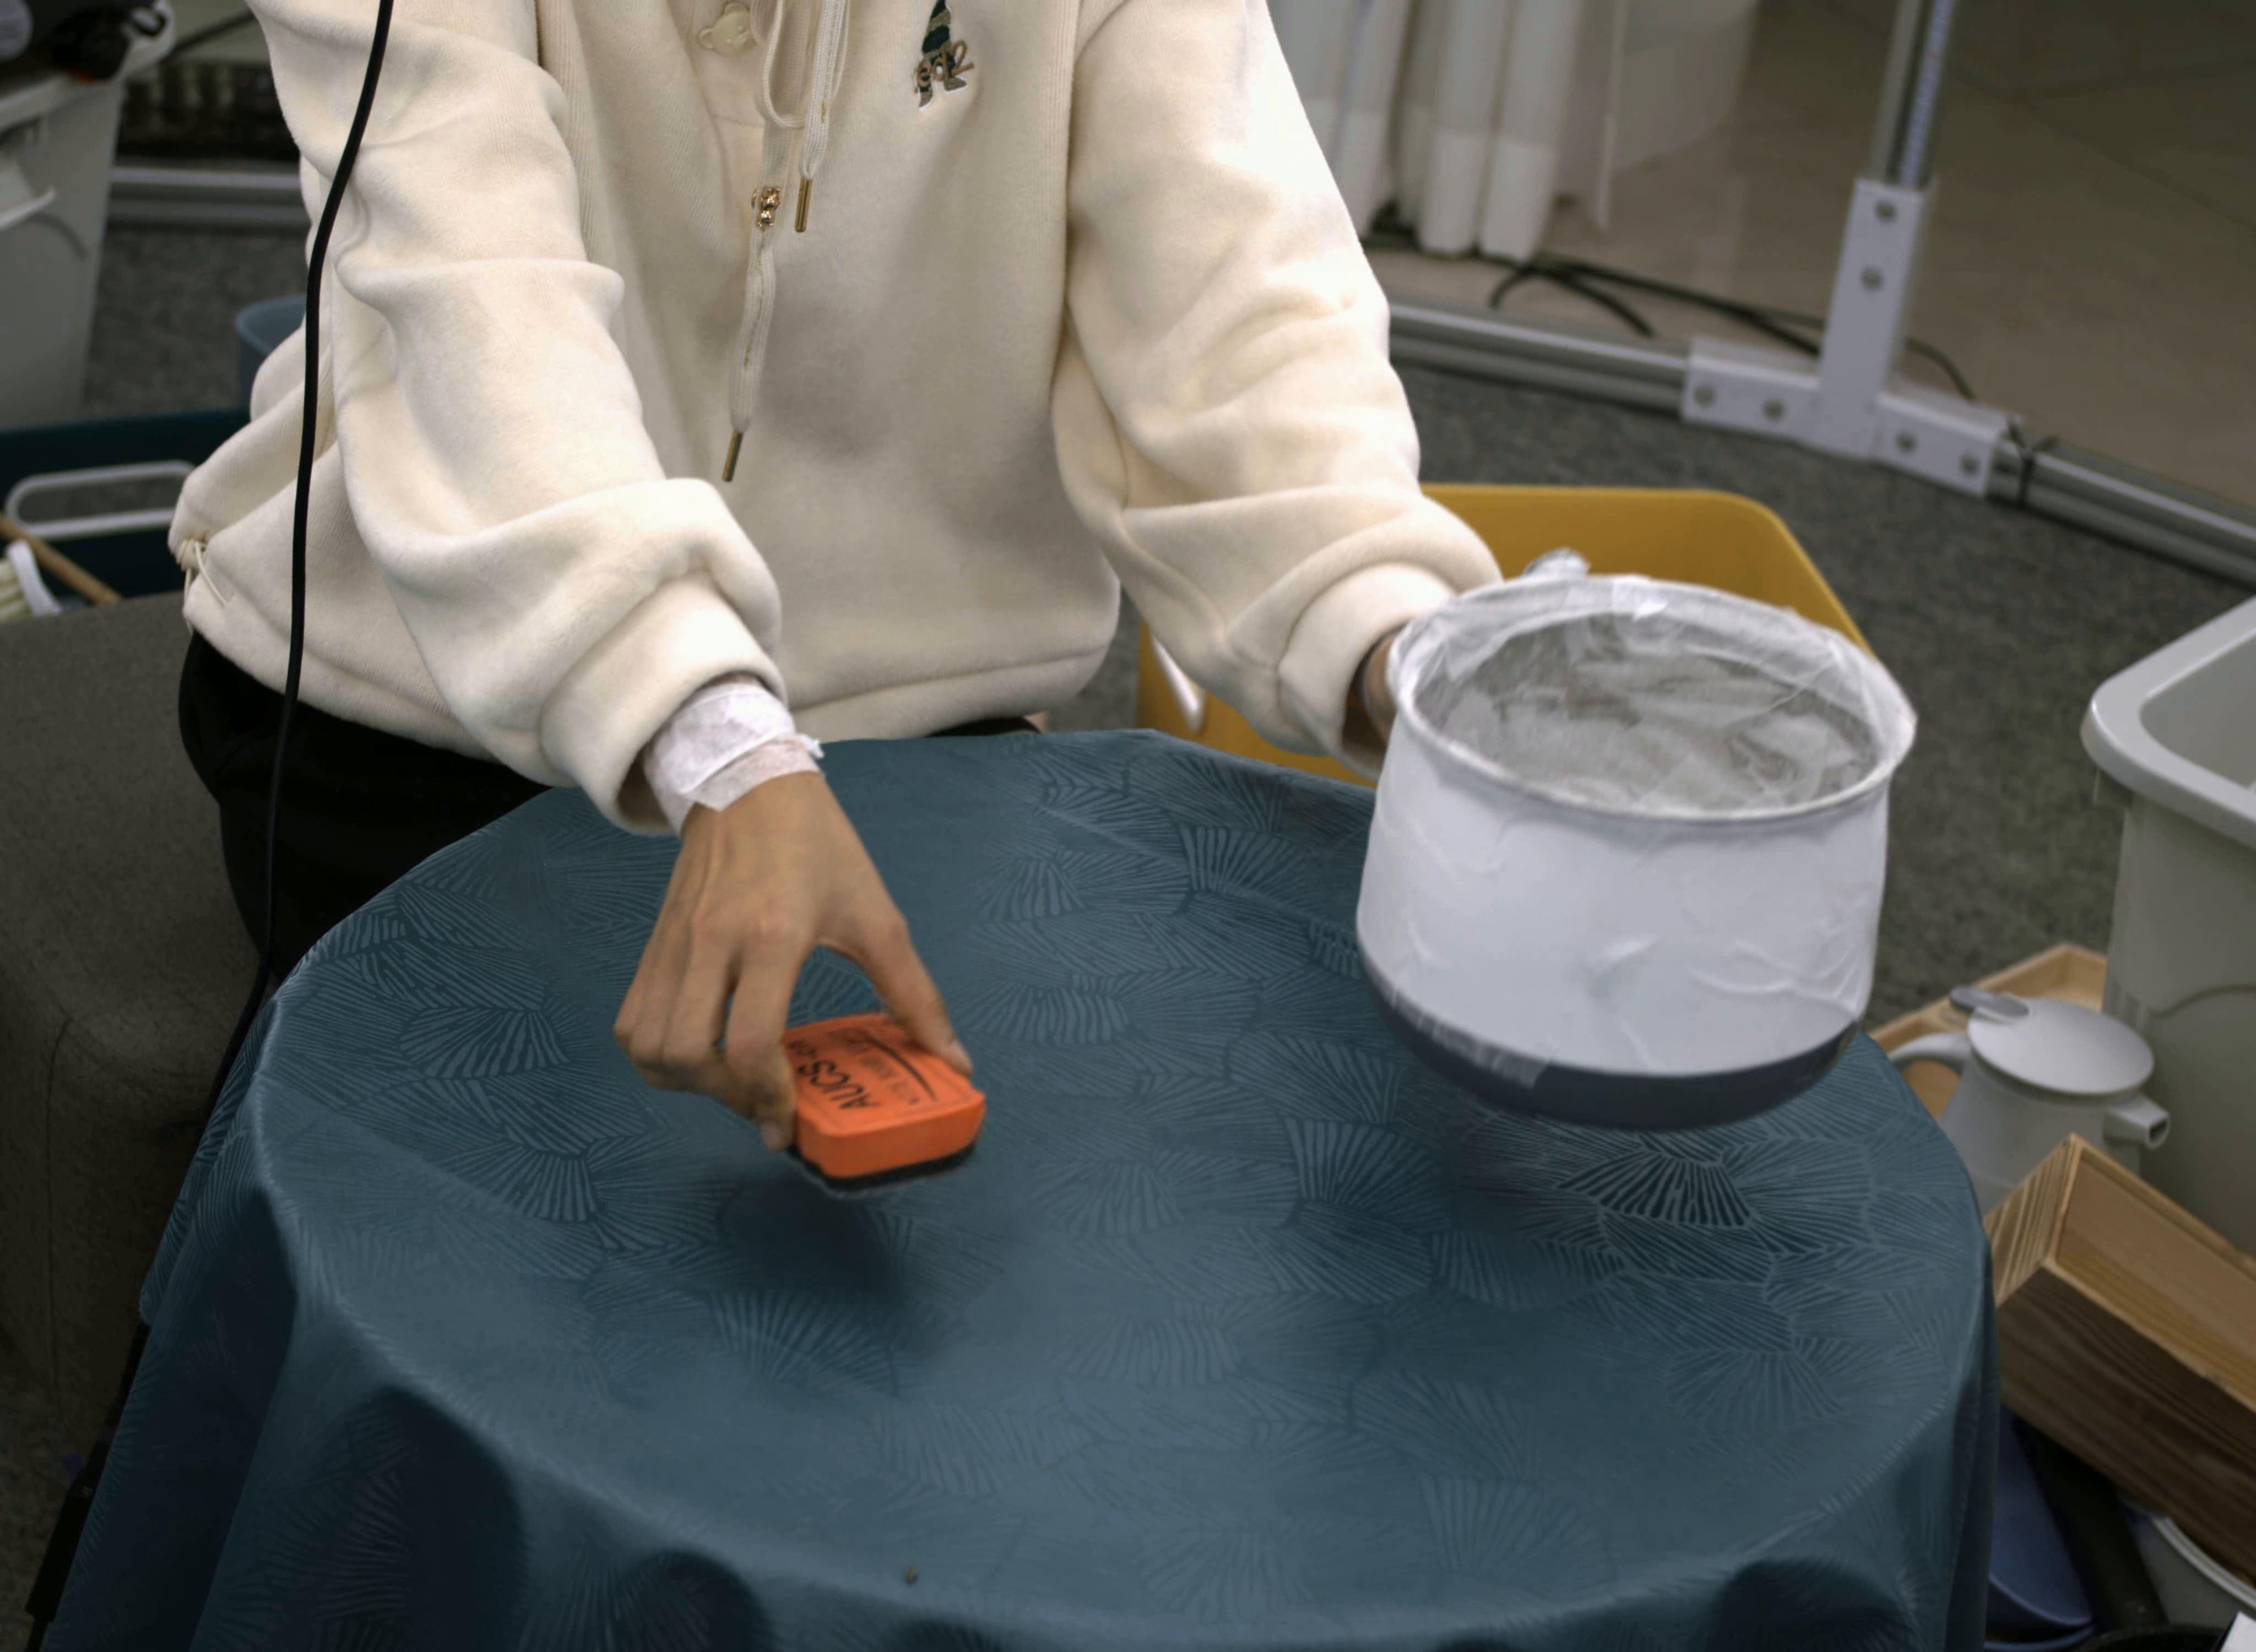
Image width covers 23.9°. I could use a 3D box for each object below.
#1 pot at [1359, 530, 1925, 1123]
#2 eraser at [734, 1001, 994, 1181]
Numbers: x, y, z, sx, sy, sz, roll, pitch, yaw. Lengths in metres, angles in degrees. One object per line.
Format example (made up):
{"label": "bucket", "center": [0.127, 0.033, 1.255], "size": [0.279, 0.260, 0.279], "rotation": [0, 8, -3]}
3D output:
{"label": "pot", "center": [0.162, -0.007, 1.815], "size": [0.178, 0.136, 0.236], "rotation": [-2, 30, -15]}
{"label": "eraser", "center": [-0.087, 0.086, 1.745], "size": [0.058, 0.023, 0.109], "rotation": [-14, 17, -18]}
